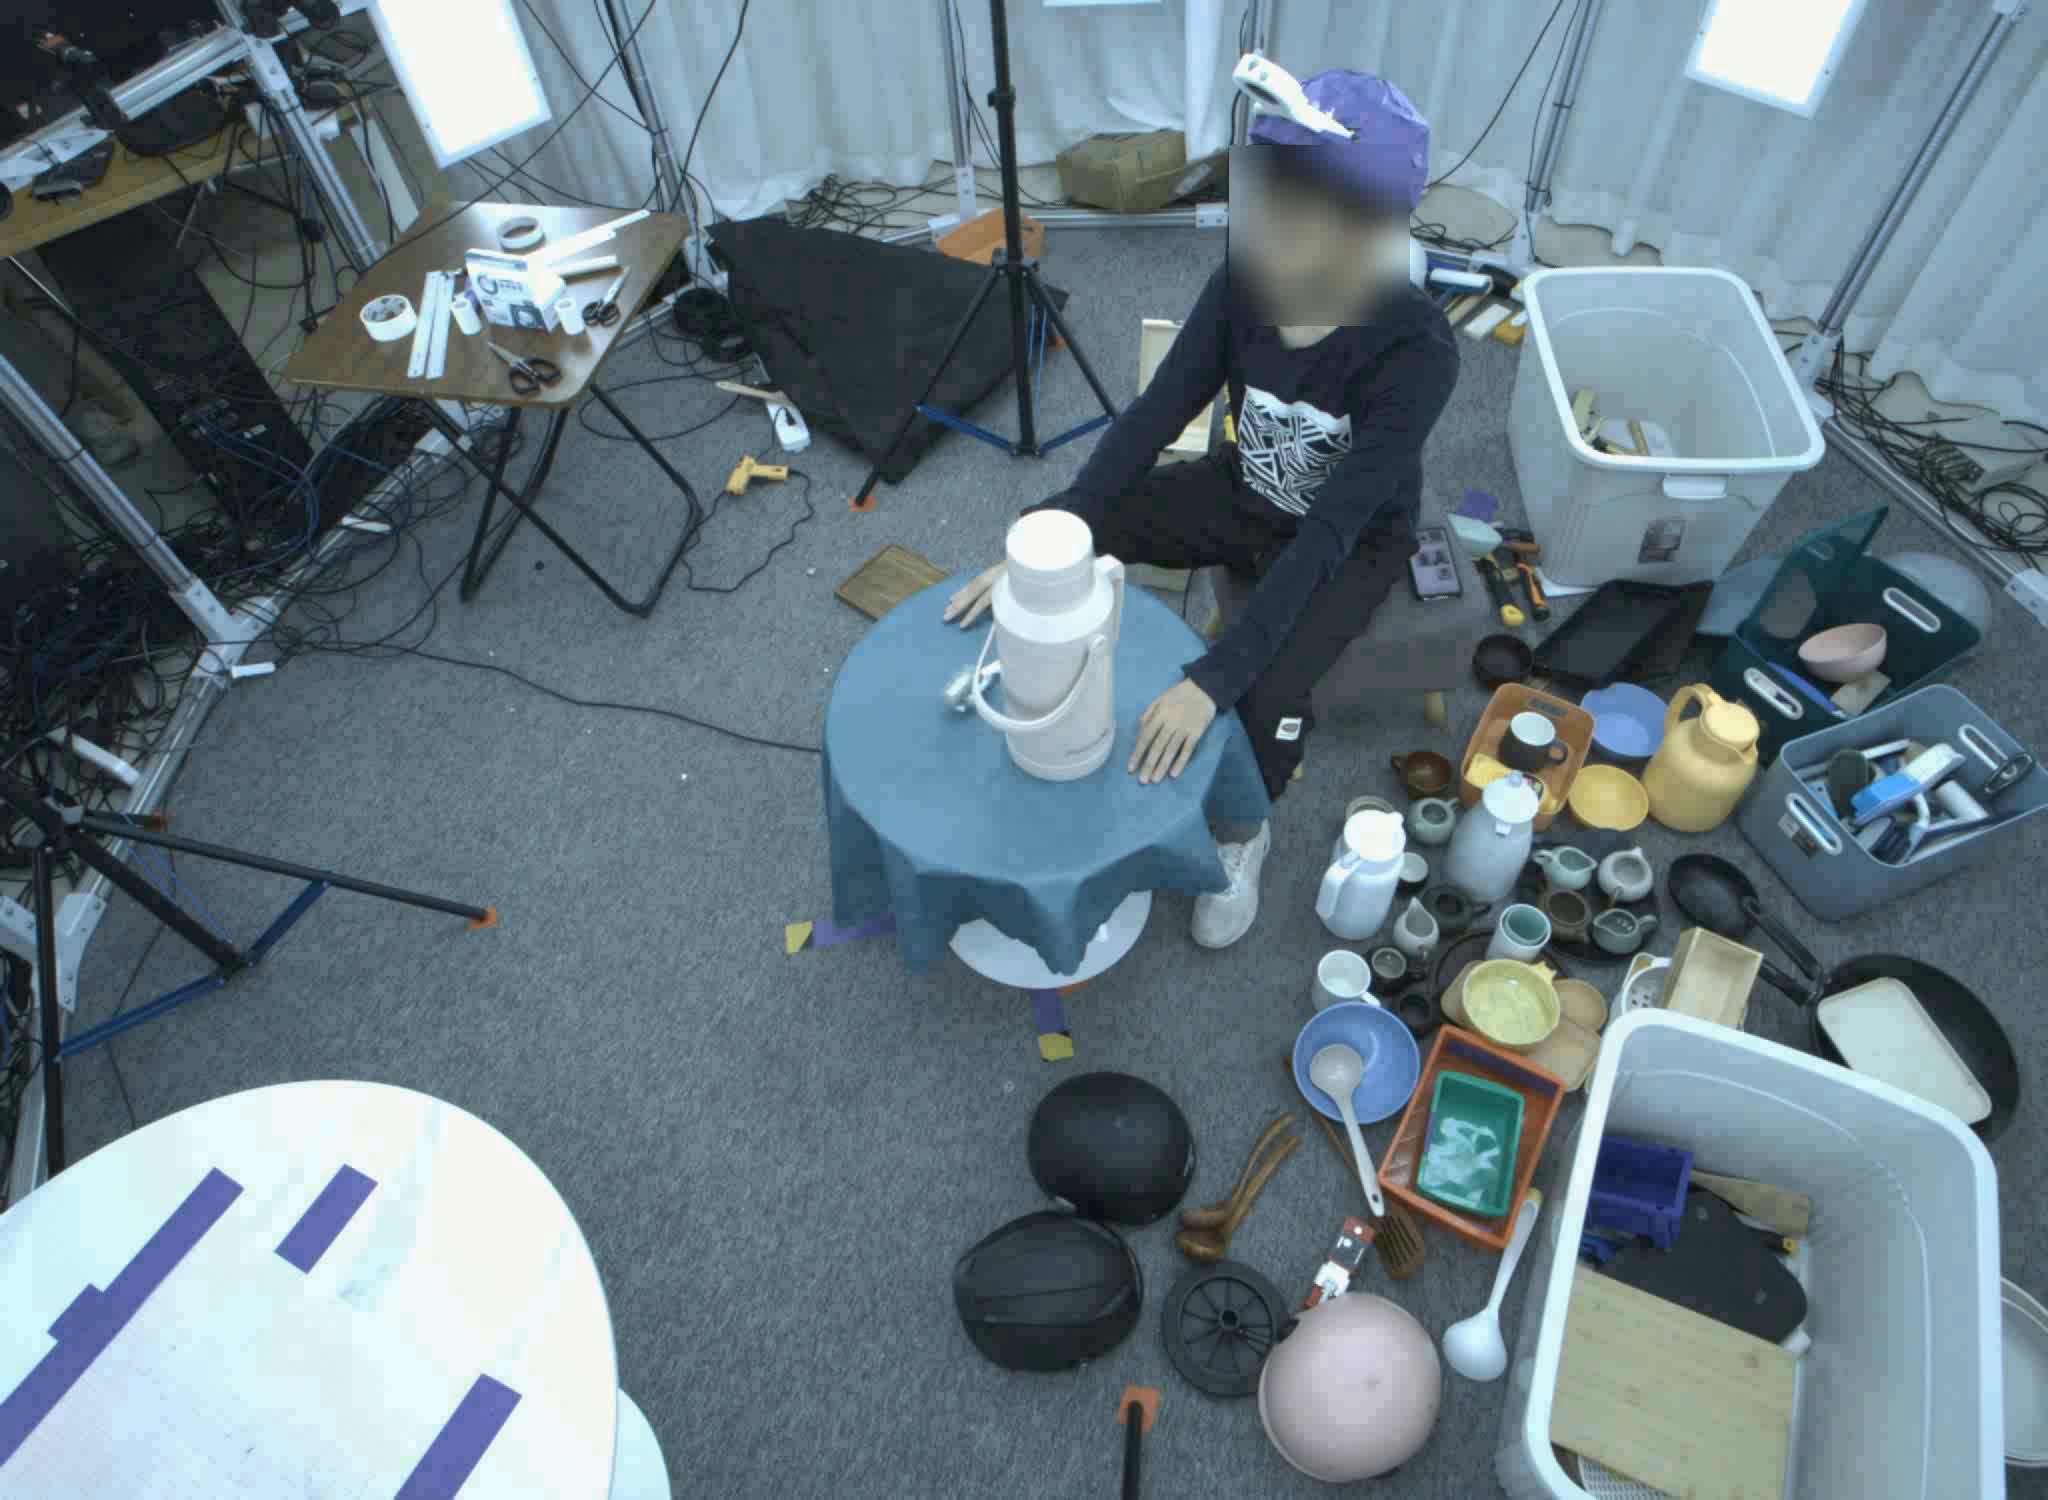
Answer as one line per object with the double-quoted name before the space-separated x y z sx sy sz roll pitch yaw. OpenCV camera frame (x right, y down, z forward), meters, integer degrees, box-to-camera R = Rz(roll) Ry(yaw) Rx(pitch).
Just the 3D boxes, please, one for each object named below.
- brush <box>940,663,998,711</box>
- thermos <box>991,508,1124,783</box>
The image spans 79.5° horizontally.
"brush" -0.025 -0.139 1.851 0.245 0.051 0.033 -36 54 -21
"thermos" 0.053 -0.141 1.634 0.208 0.411 0.172 -38 59 -22
